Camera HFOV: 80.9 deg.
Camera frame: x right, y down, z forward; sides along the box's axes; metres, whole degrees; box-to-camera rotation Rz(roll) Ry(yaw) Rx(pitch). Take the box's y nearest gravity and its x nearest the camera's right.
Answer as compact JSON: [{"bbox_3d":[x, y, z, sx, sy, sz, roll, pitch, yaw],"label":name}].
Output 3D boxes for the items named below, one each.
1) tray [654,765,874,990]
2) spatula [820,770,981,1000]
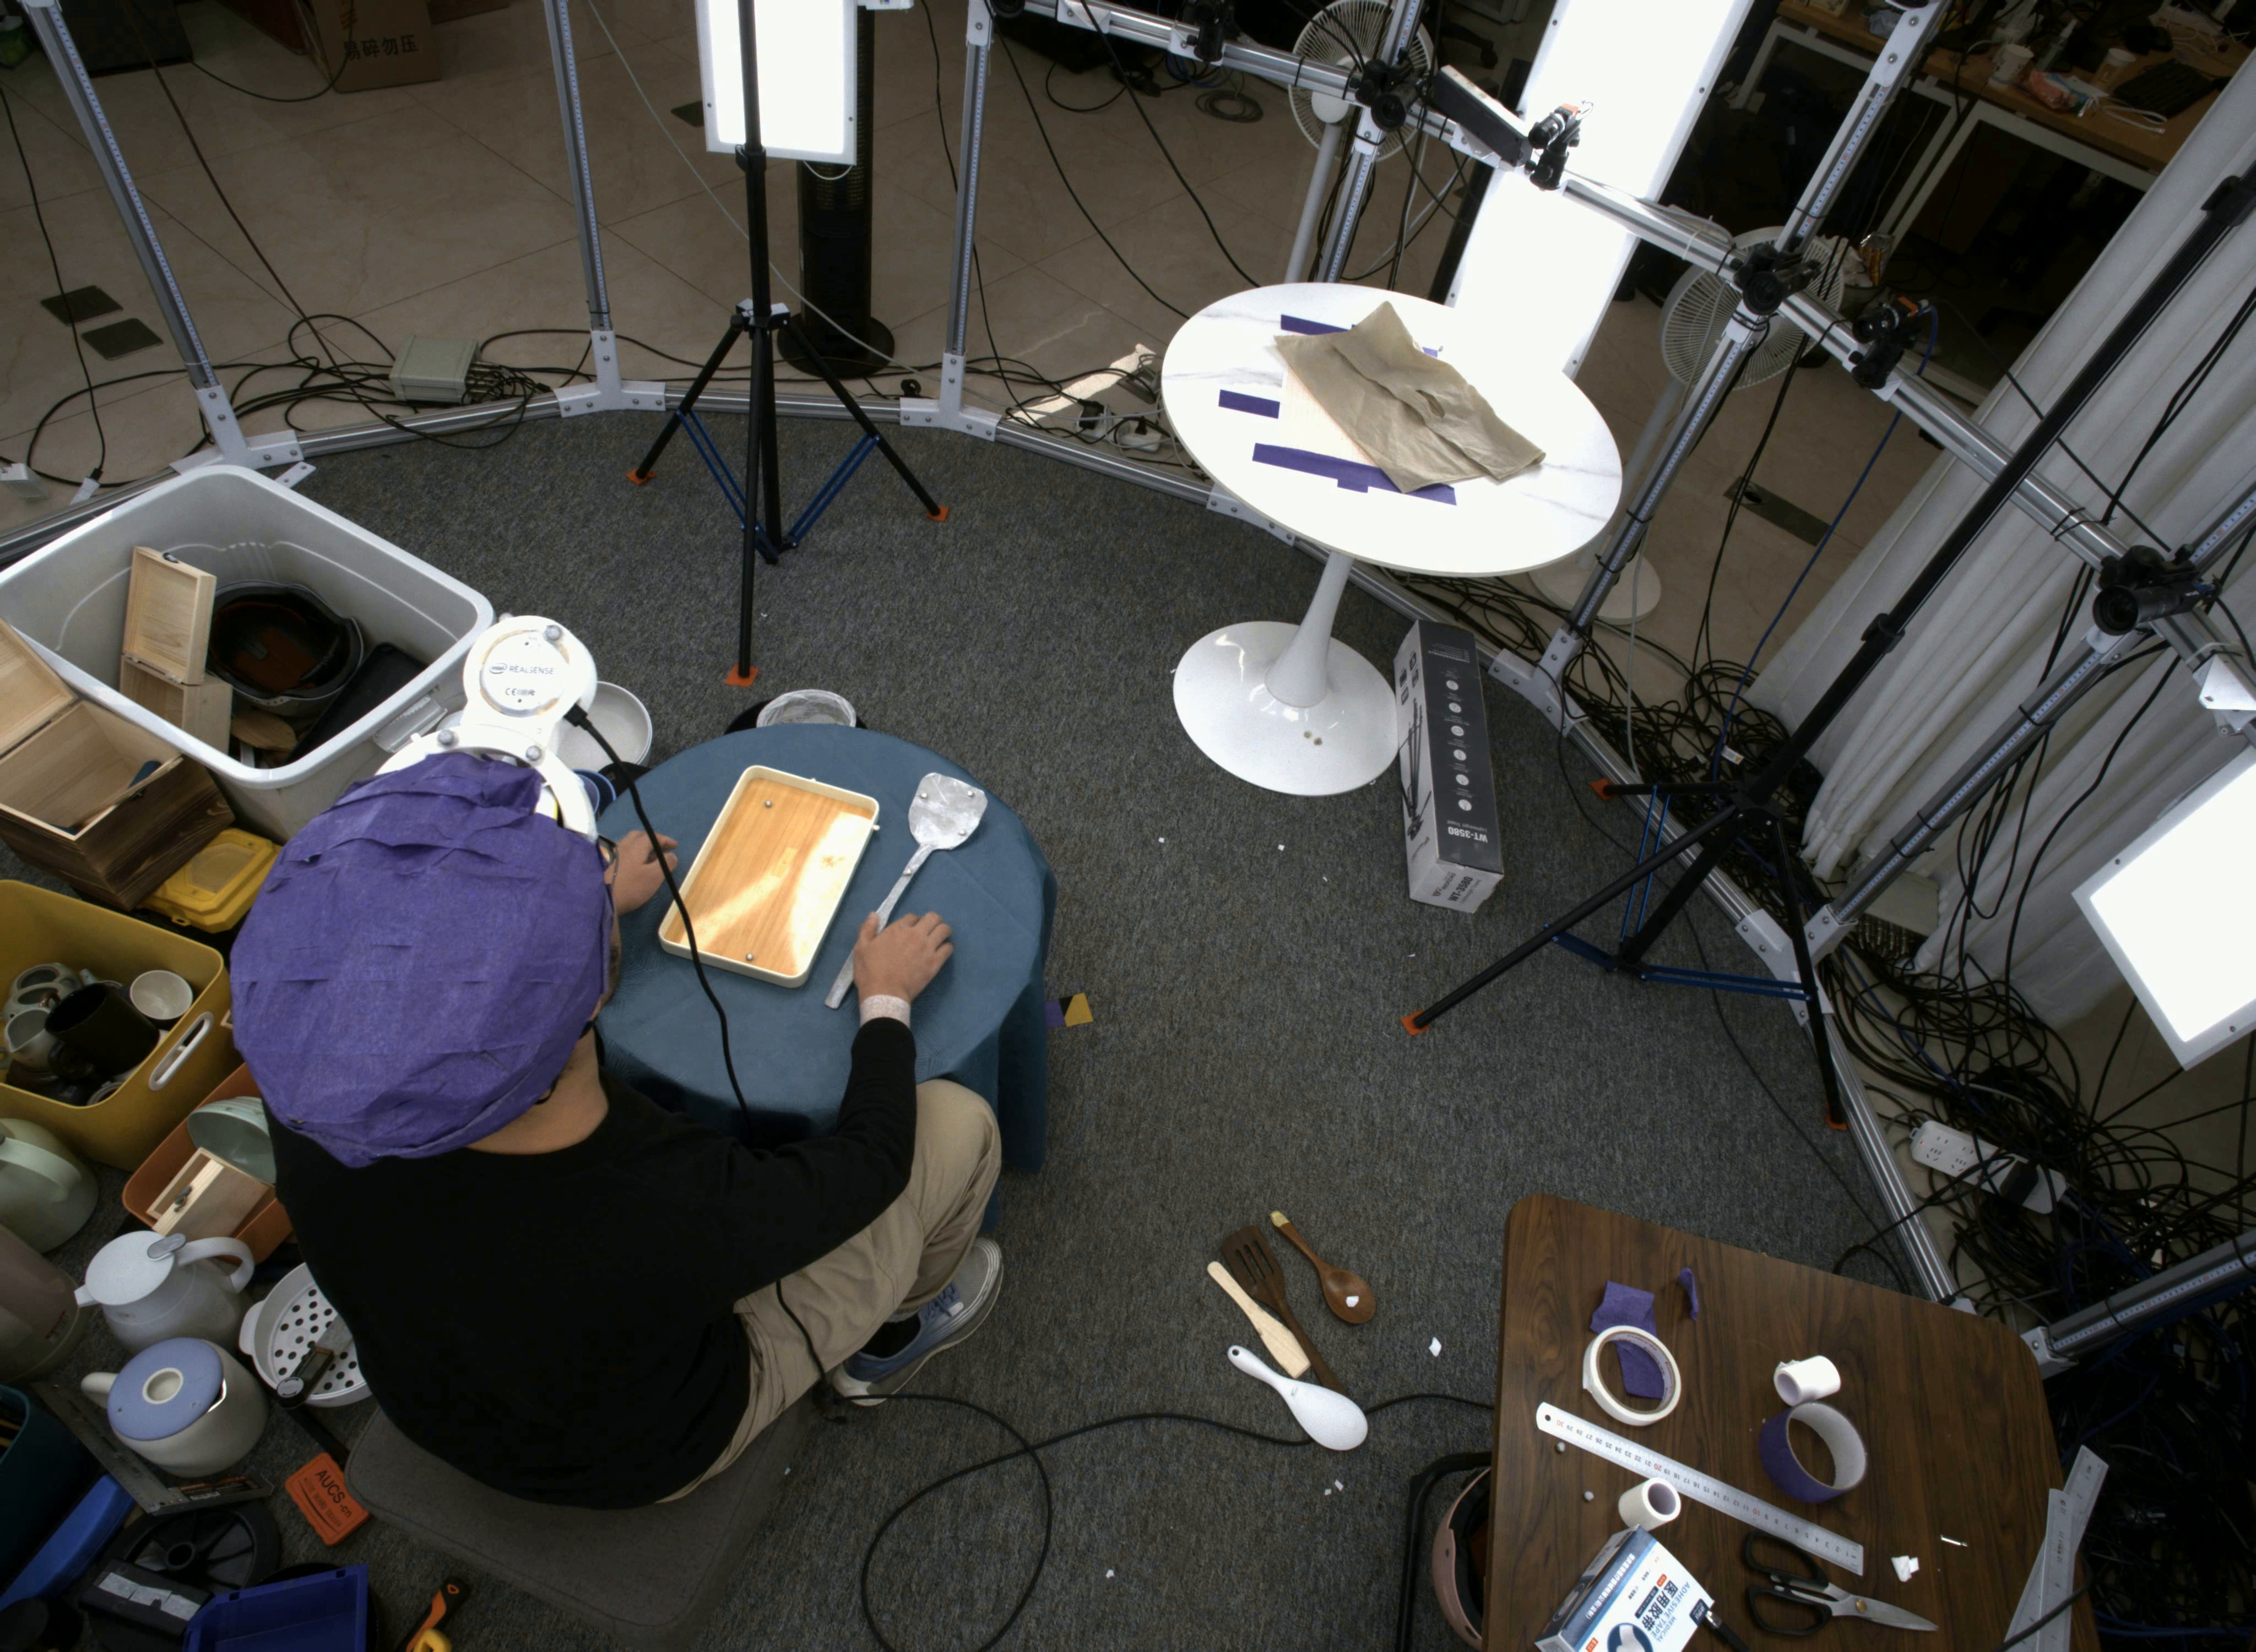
[{"bbox_3d":[-0.458,0.058,1.649,0.190,0.028,0.296,17,52,-2],"label":"tray"},{"bbox_3d":[-0.301,0.072,1.673,0.097,0.045,0.362,23,51,3],"label":"spatula"}]
